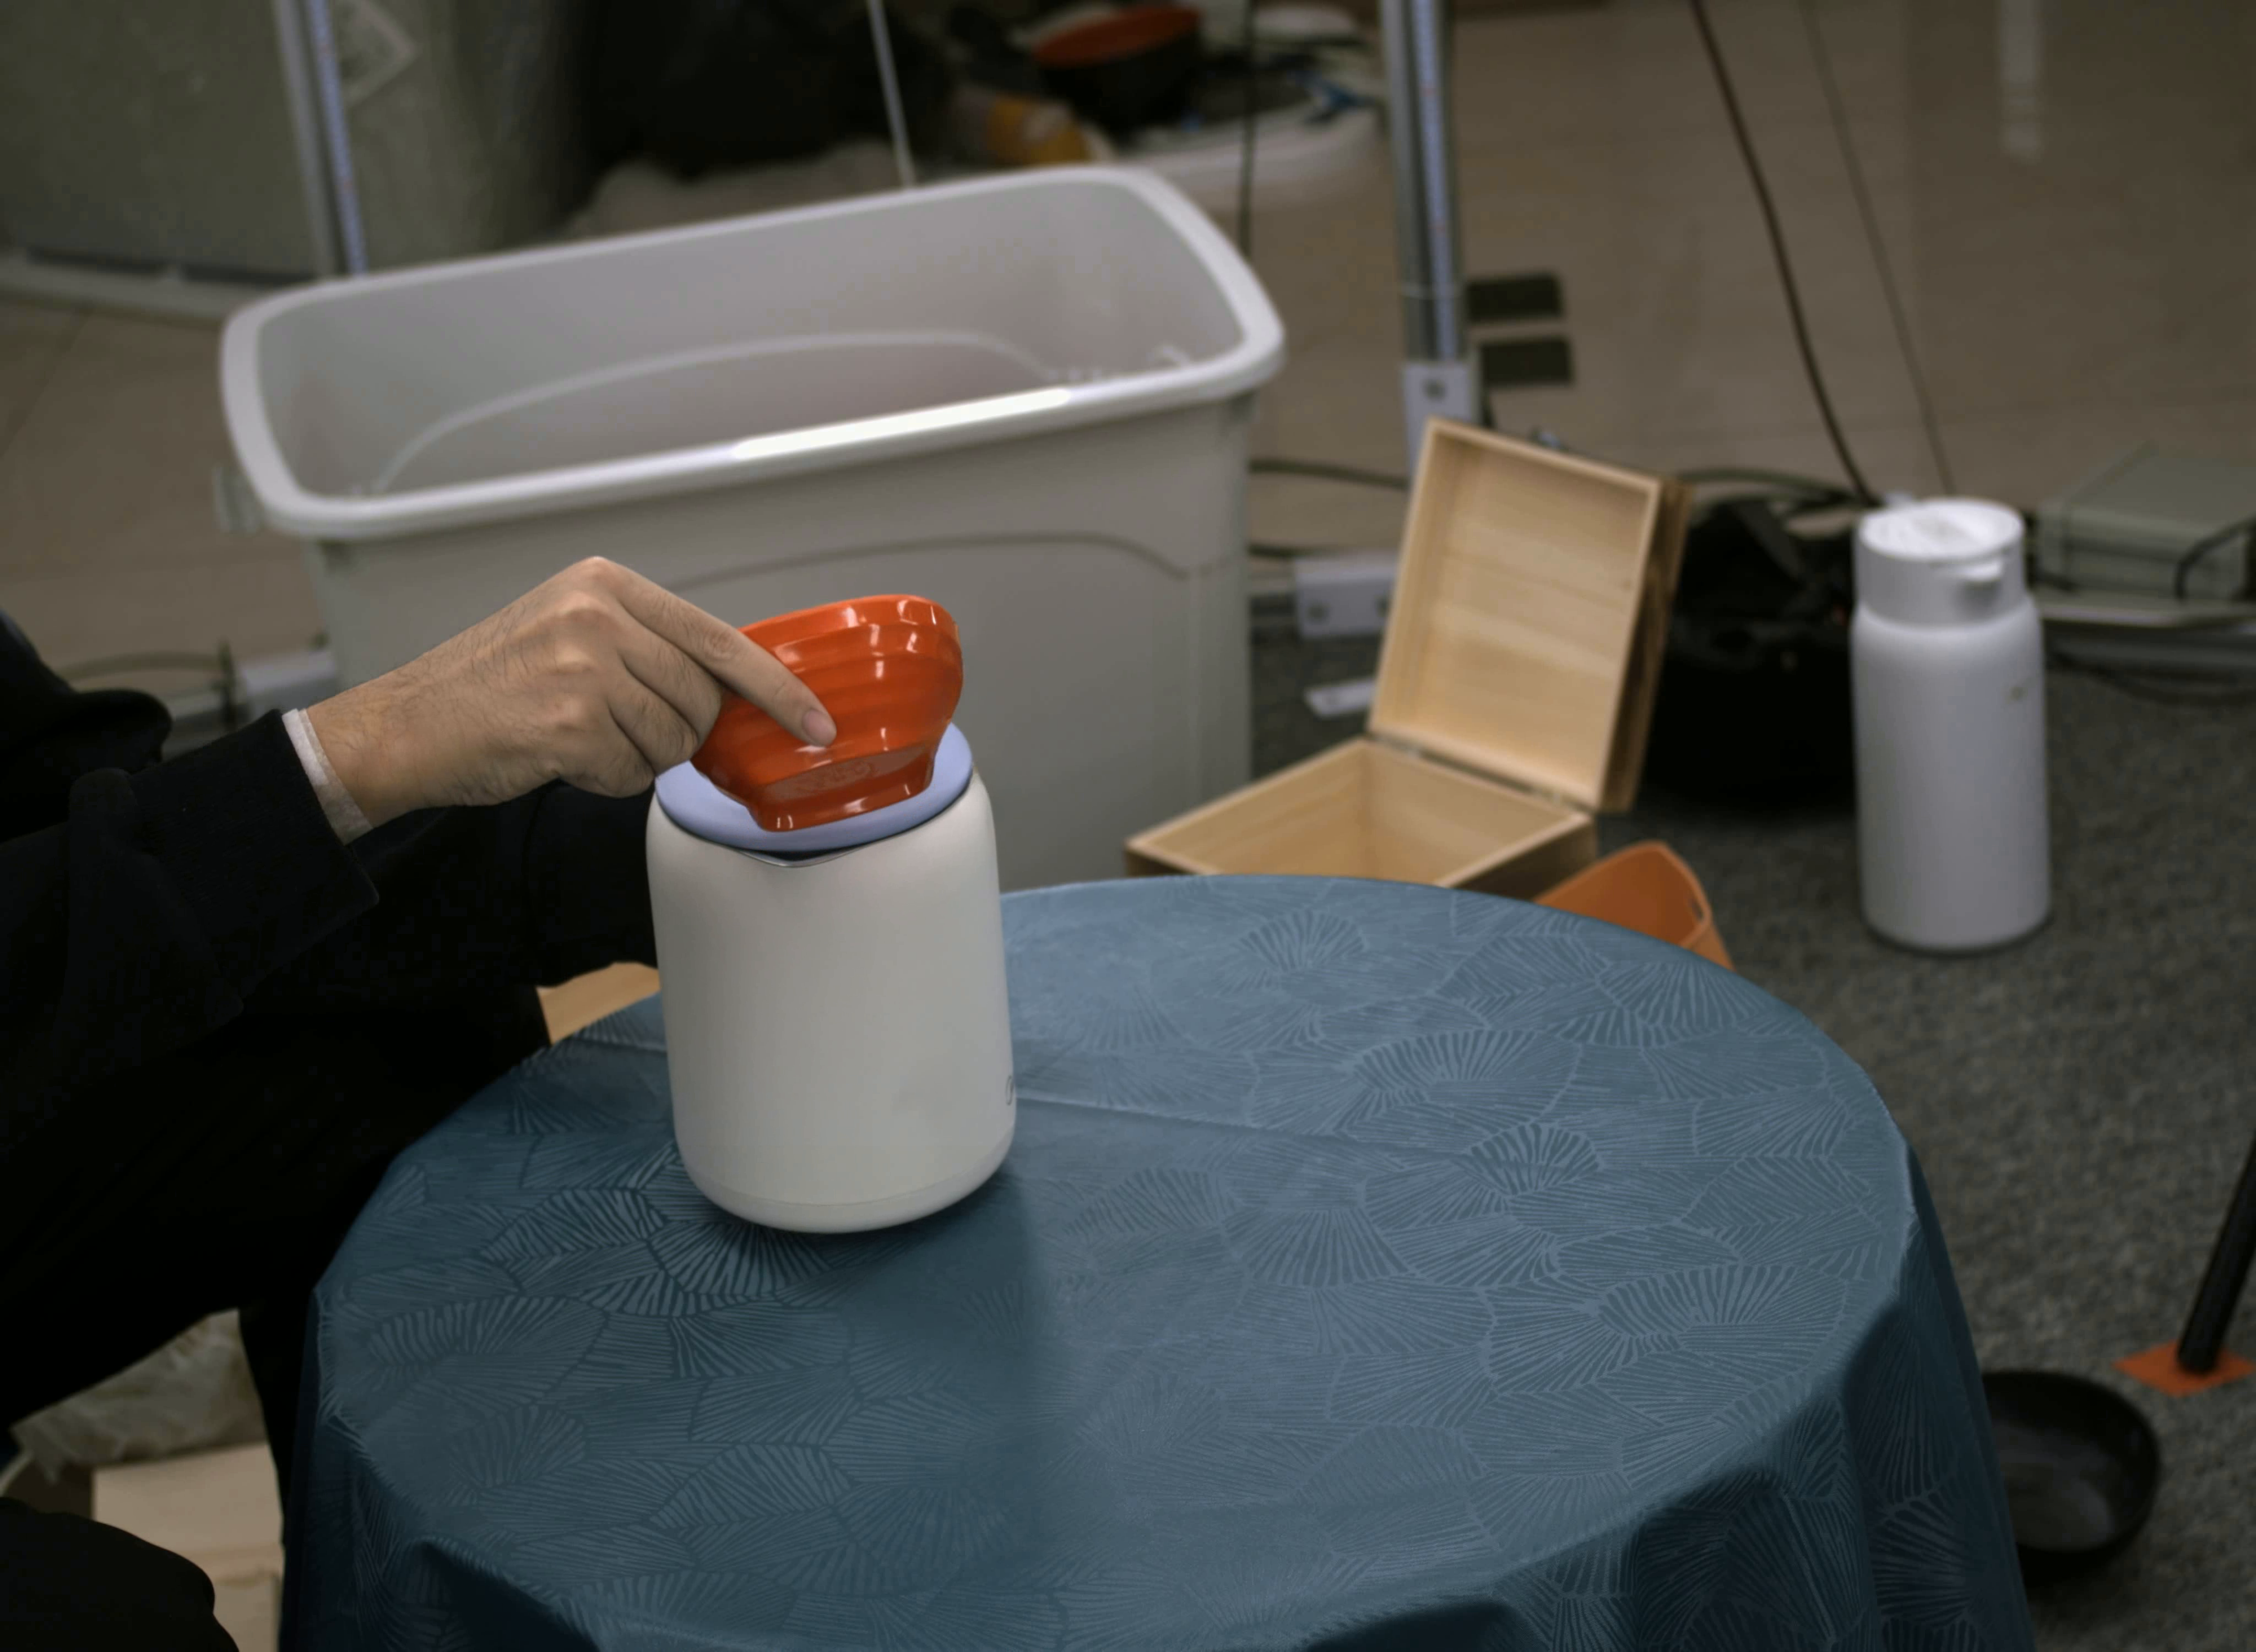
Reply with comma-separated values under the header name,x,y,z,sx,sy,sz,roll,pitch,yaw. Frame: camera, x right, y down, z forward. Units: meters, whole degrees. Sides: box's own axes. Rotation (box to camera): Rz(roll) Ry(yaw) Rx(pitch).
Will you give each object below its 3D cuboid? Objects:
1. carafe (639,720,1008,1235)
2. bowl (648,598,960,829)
name,x,y,z,sx,sy,sz,roll,pitch,yaw
carafe,-0.114,0.040,2.153,0.132,0.185,0.188,-1,27,2
bowl,-0.108,-0.035,1.972,0.118,0.051,0.120,-12,-14,-3
